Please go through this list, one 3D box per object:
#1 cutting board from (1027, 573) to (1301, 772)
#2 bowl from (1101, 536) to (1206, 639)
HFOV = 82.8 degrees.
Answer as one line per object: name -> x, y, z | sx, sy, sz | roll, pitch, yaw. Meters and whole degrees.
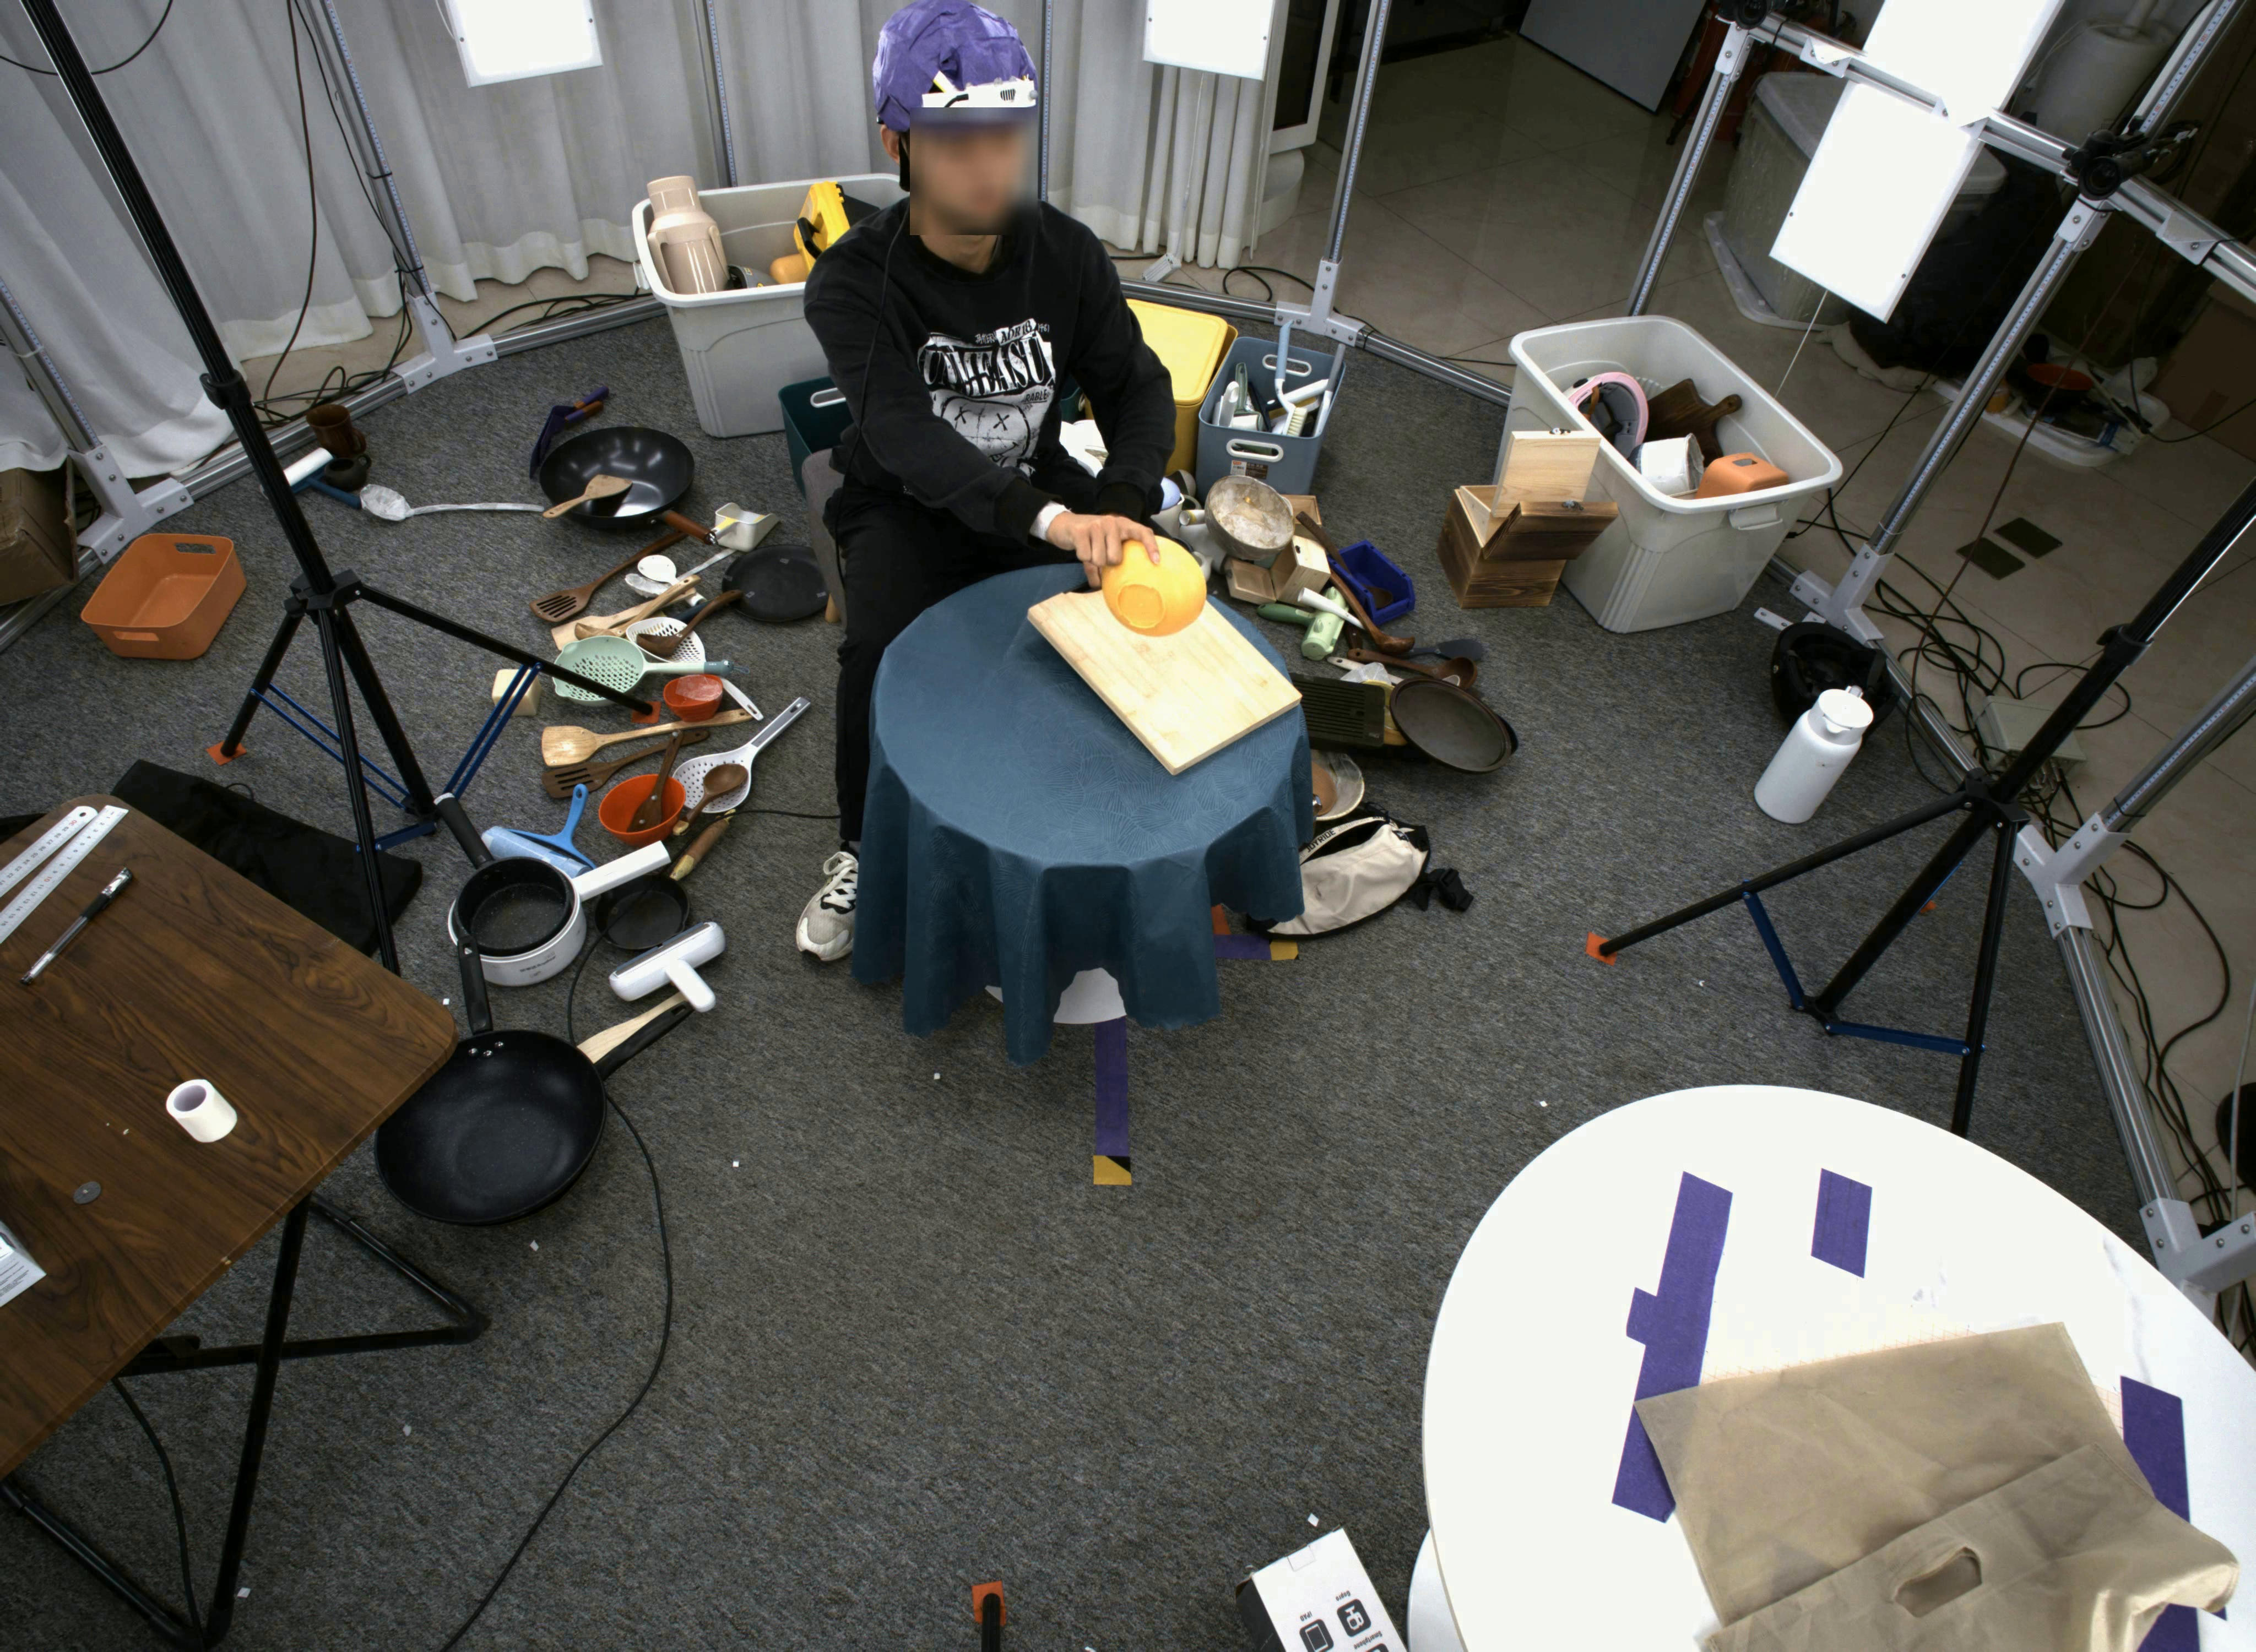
cutting board -> 0.049, -0.248, 1.867 | 0.252, 0.023, 0.354 | -30, 64, -27
bowl -> 0.026, -0.299, 1.676 | 0.146, 0.142, 0.061 | 16, 39, 9
